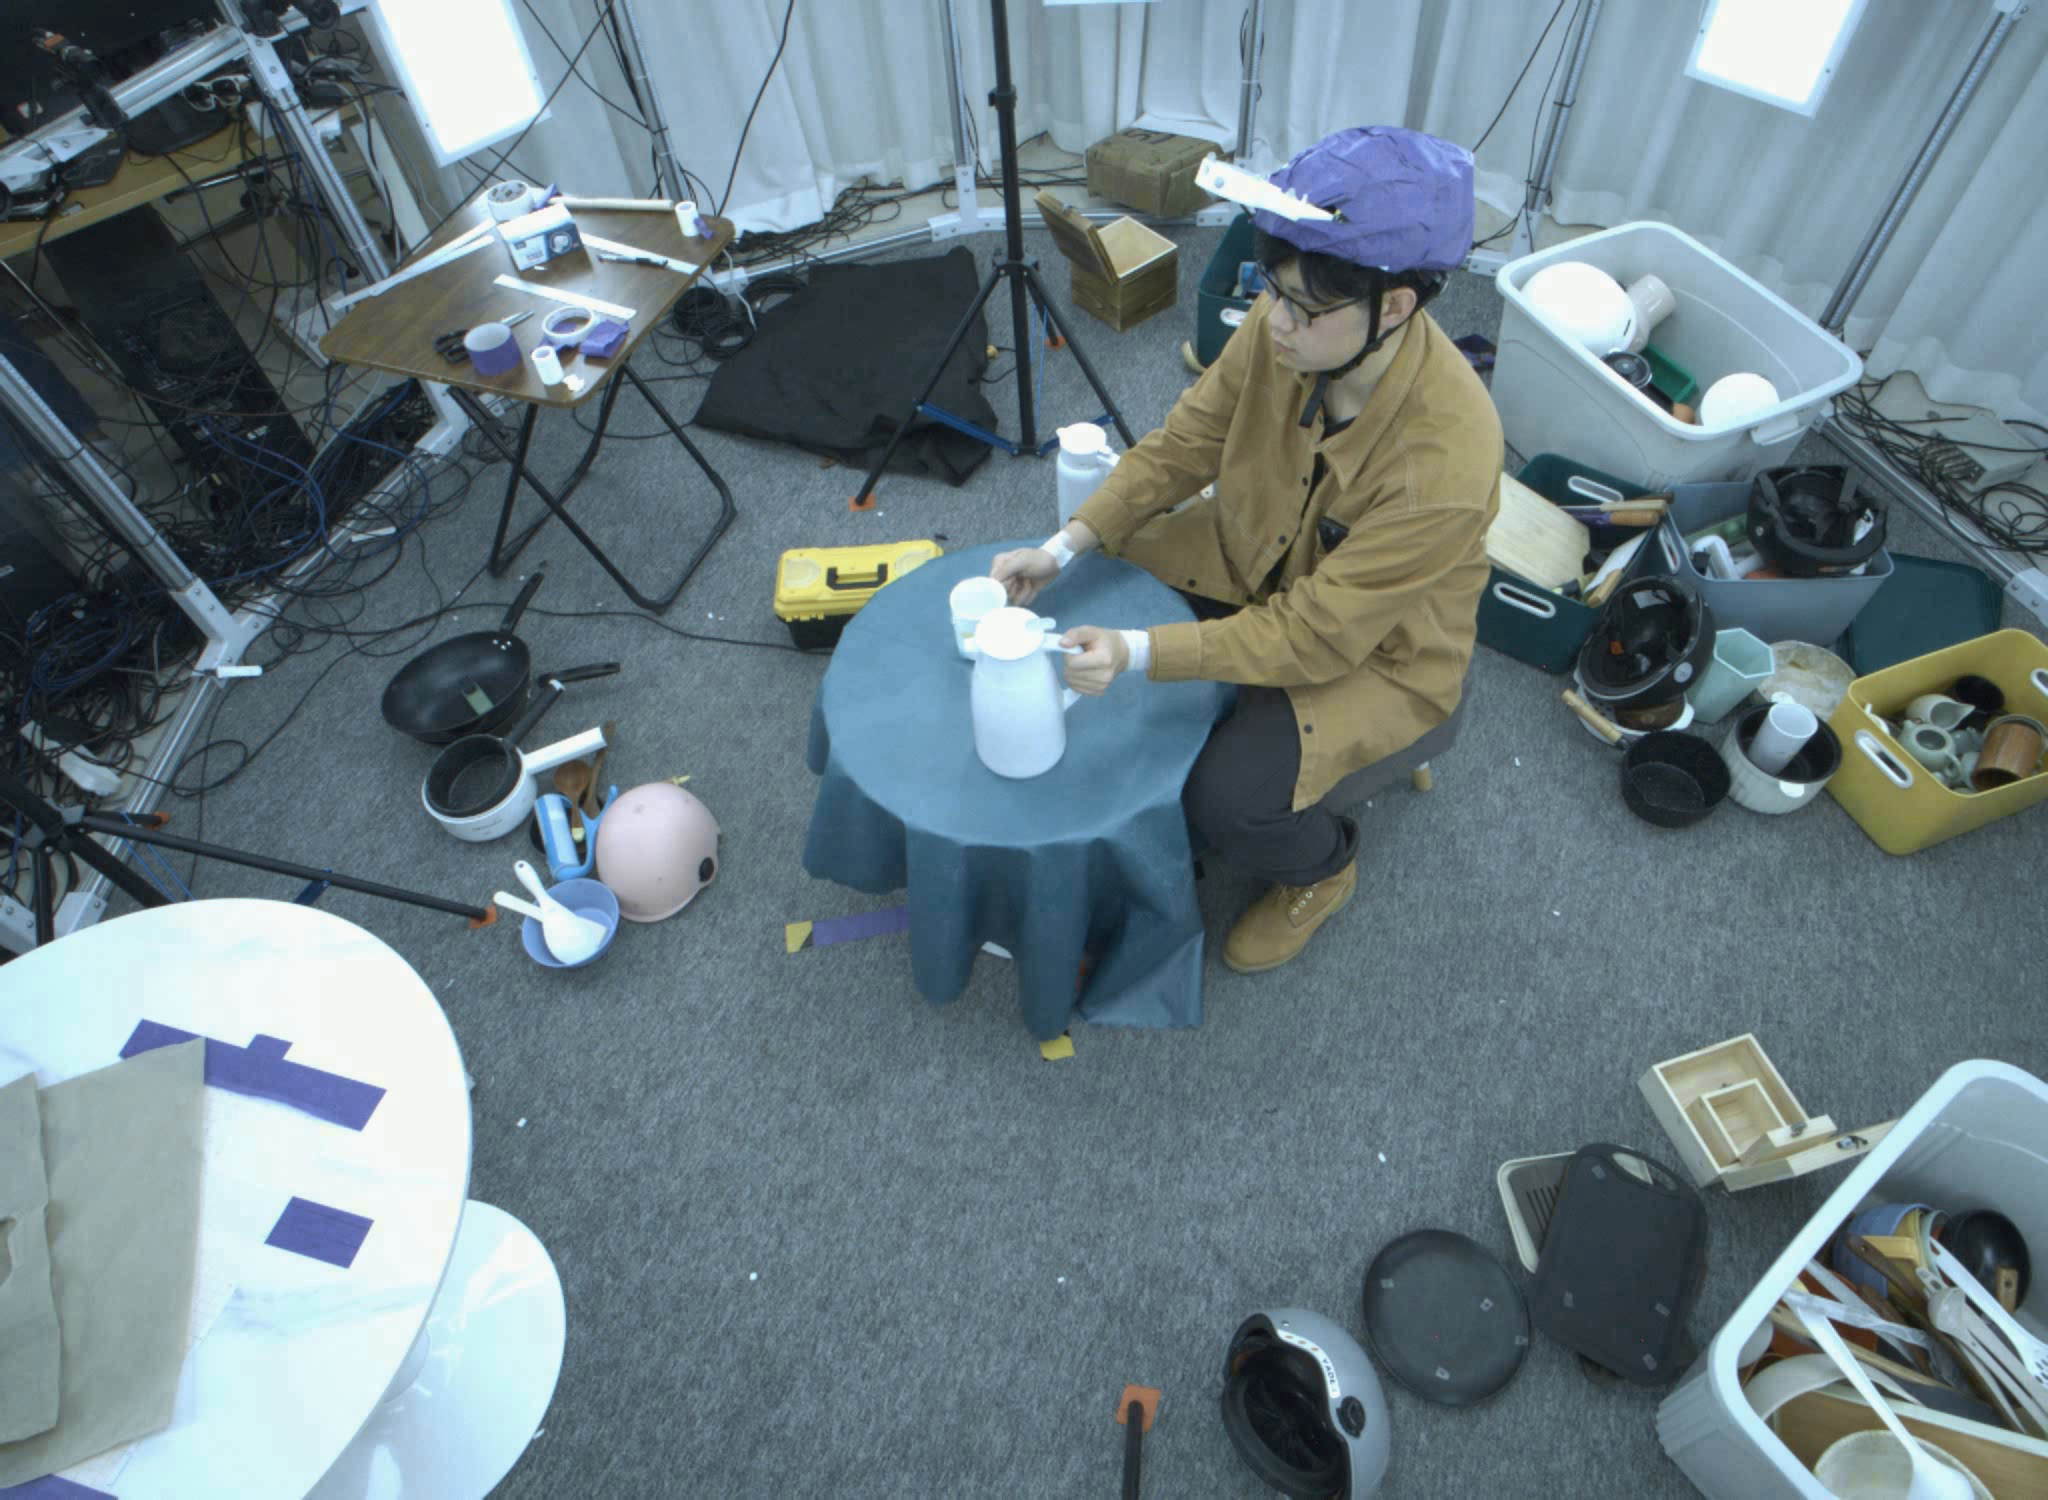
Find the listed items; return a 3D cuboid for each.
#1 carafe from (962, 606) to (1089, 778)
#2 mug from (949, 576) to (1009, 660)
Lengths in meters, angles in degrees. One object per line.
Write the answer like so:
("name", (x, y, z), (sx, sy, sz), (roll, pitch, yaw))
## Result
("carafe", (0.006, -0.089, 1.693), (0.168, 0.251, 0.130), (-9, 53, -3))
("mug", (-0.059, -0.209, 1.872), (0.084, 0.103, 0.118), (24, 58, 18))
